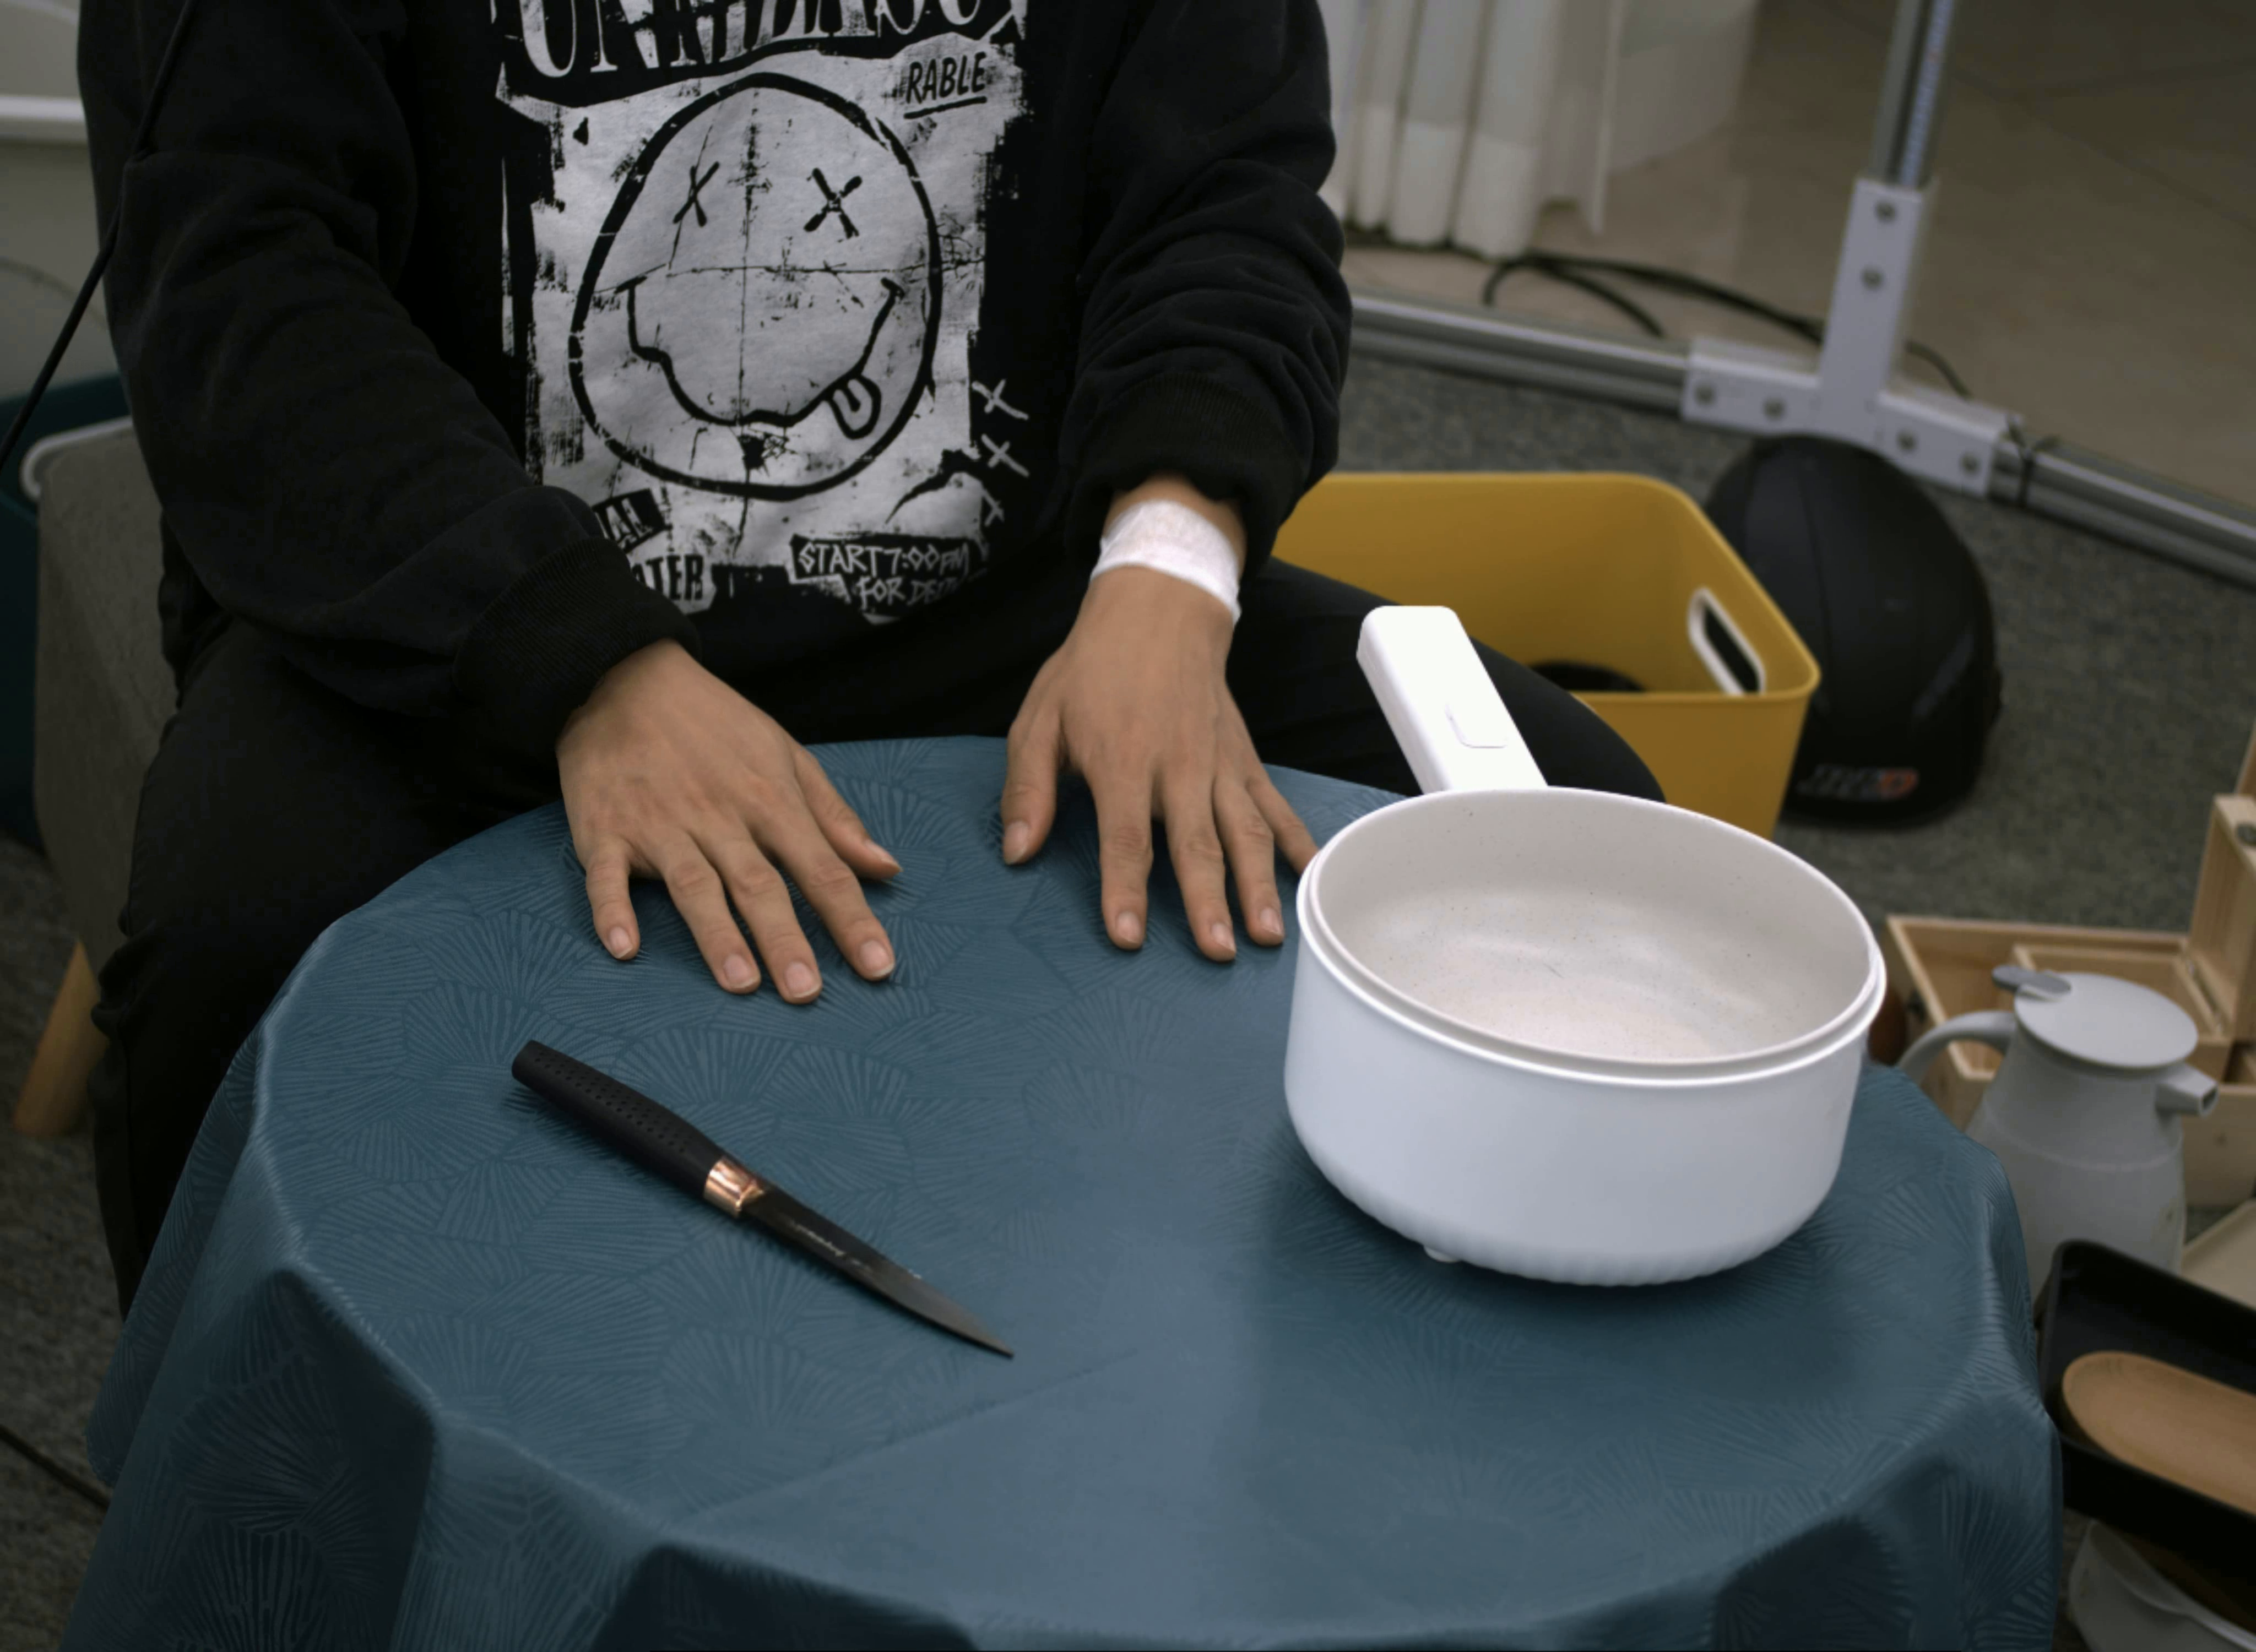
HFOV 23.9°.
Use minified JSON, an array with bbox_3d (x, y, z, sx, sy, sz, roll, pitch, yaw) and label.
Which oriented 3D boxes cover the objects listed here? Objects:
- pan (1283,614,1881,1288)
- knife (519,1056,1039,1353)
[{"bbox_3d":[0.137,0.041,1.892,0.200,0.102,0.357,-1,27,-11],"label":"pan"},{"bbox_3d":[-0.118,0.126,1.765,0.227,0.017,0.026,27,18,32],"label":"knife"}]
